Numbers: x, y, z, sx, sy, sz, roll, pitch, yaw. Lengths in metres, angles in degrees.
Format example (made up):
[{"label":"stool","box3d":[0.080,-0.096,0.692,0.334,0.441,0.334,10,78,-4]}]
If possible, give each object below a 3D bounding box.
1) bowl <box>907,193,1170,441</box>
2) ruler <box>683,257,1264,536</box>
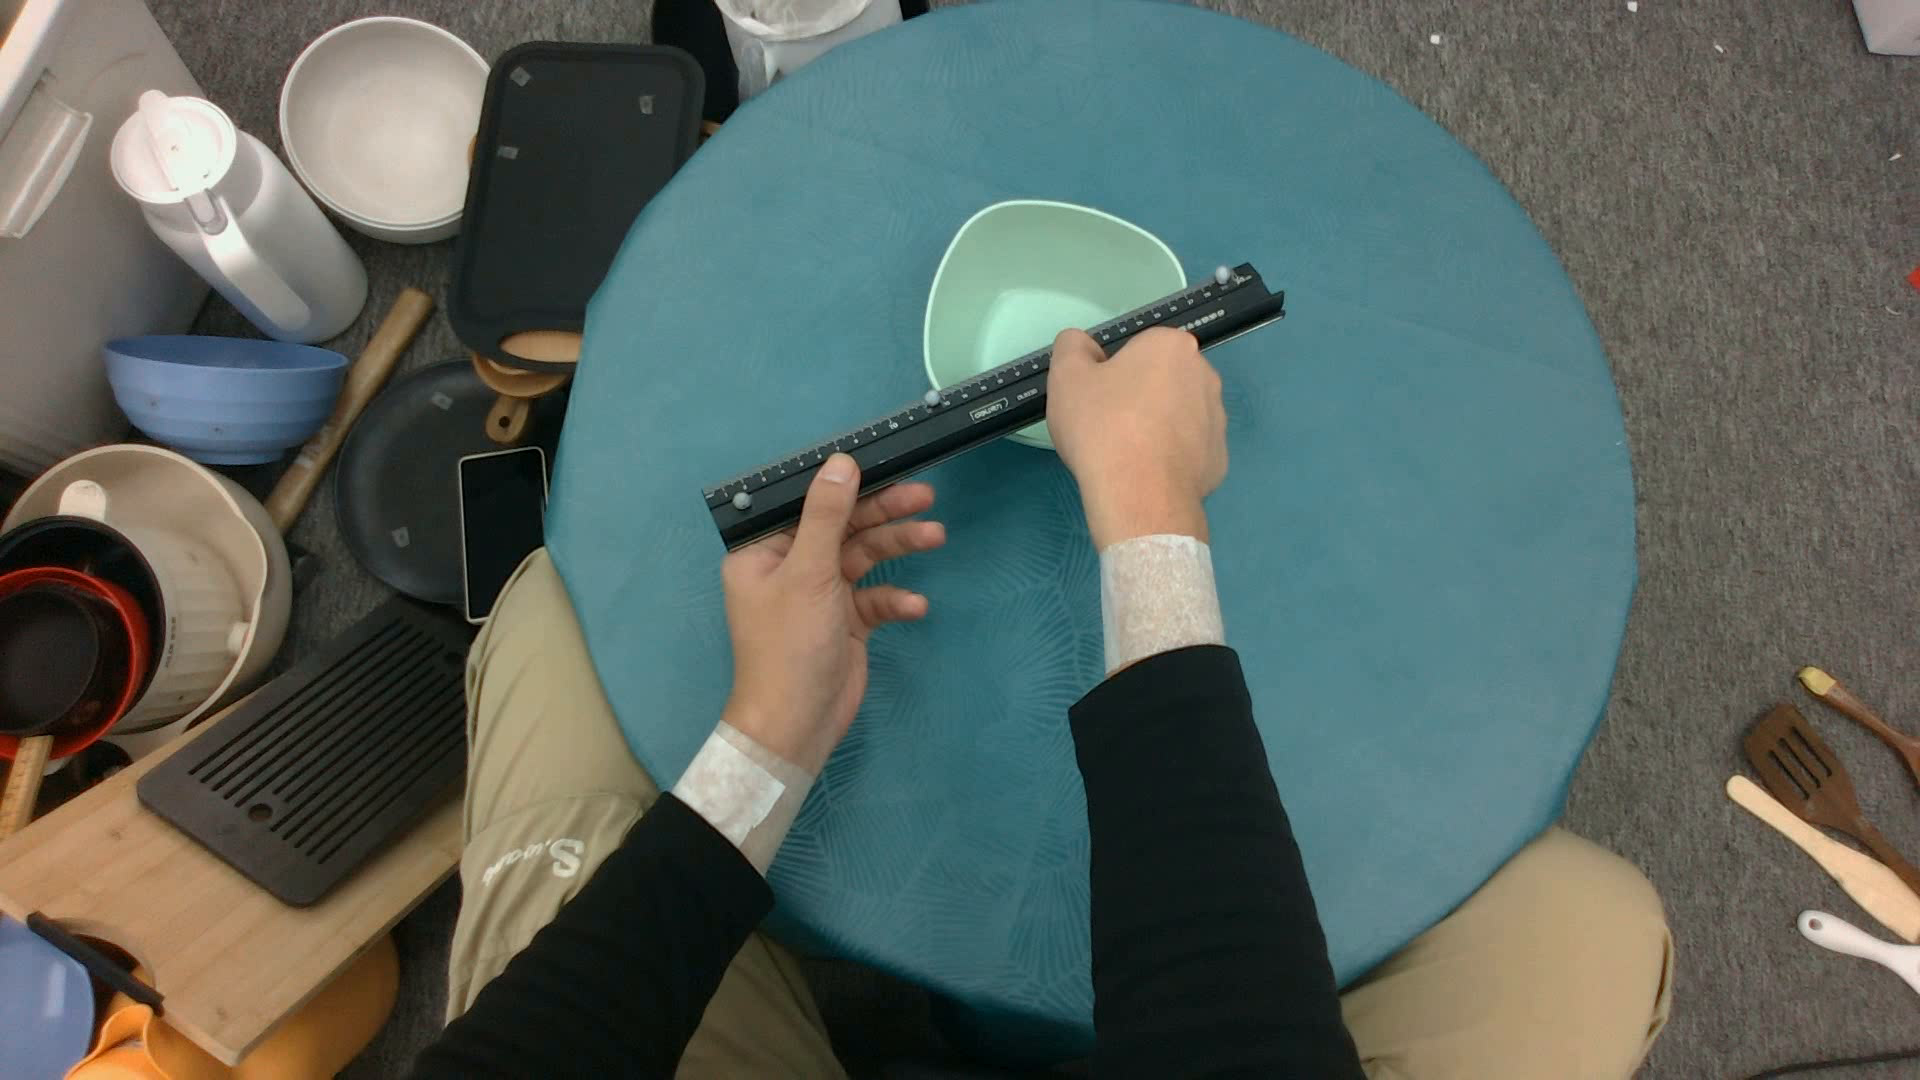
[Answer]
[{"label":"bowl","box3d":[0.040,-0.113,0.753,0.151,0.058,0.152,2,72,-5]},{"label":"ruler","box3d":[0.012,-0.080,0.693,0.313,0.017,0.039,-23,65,-10]}]
